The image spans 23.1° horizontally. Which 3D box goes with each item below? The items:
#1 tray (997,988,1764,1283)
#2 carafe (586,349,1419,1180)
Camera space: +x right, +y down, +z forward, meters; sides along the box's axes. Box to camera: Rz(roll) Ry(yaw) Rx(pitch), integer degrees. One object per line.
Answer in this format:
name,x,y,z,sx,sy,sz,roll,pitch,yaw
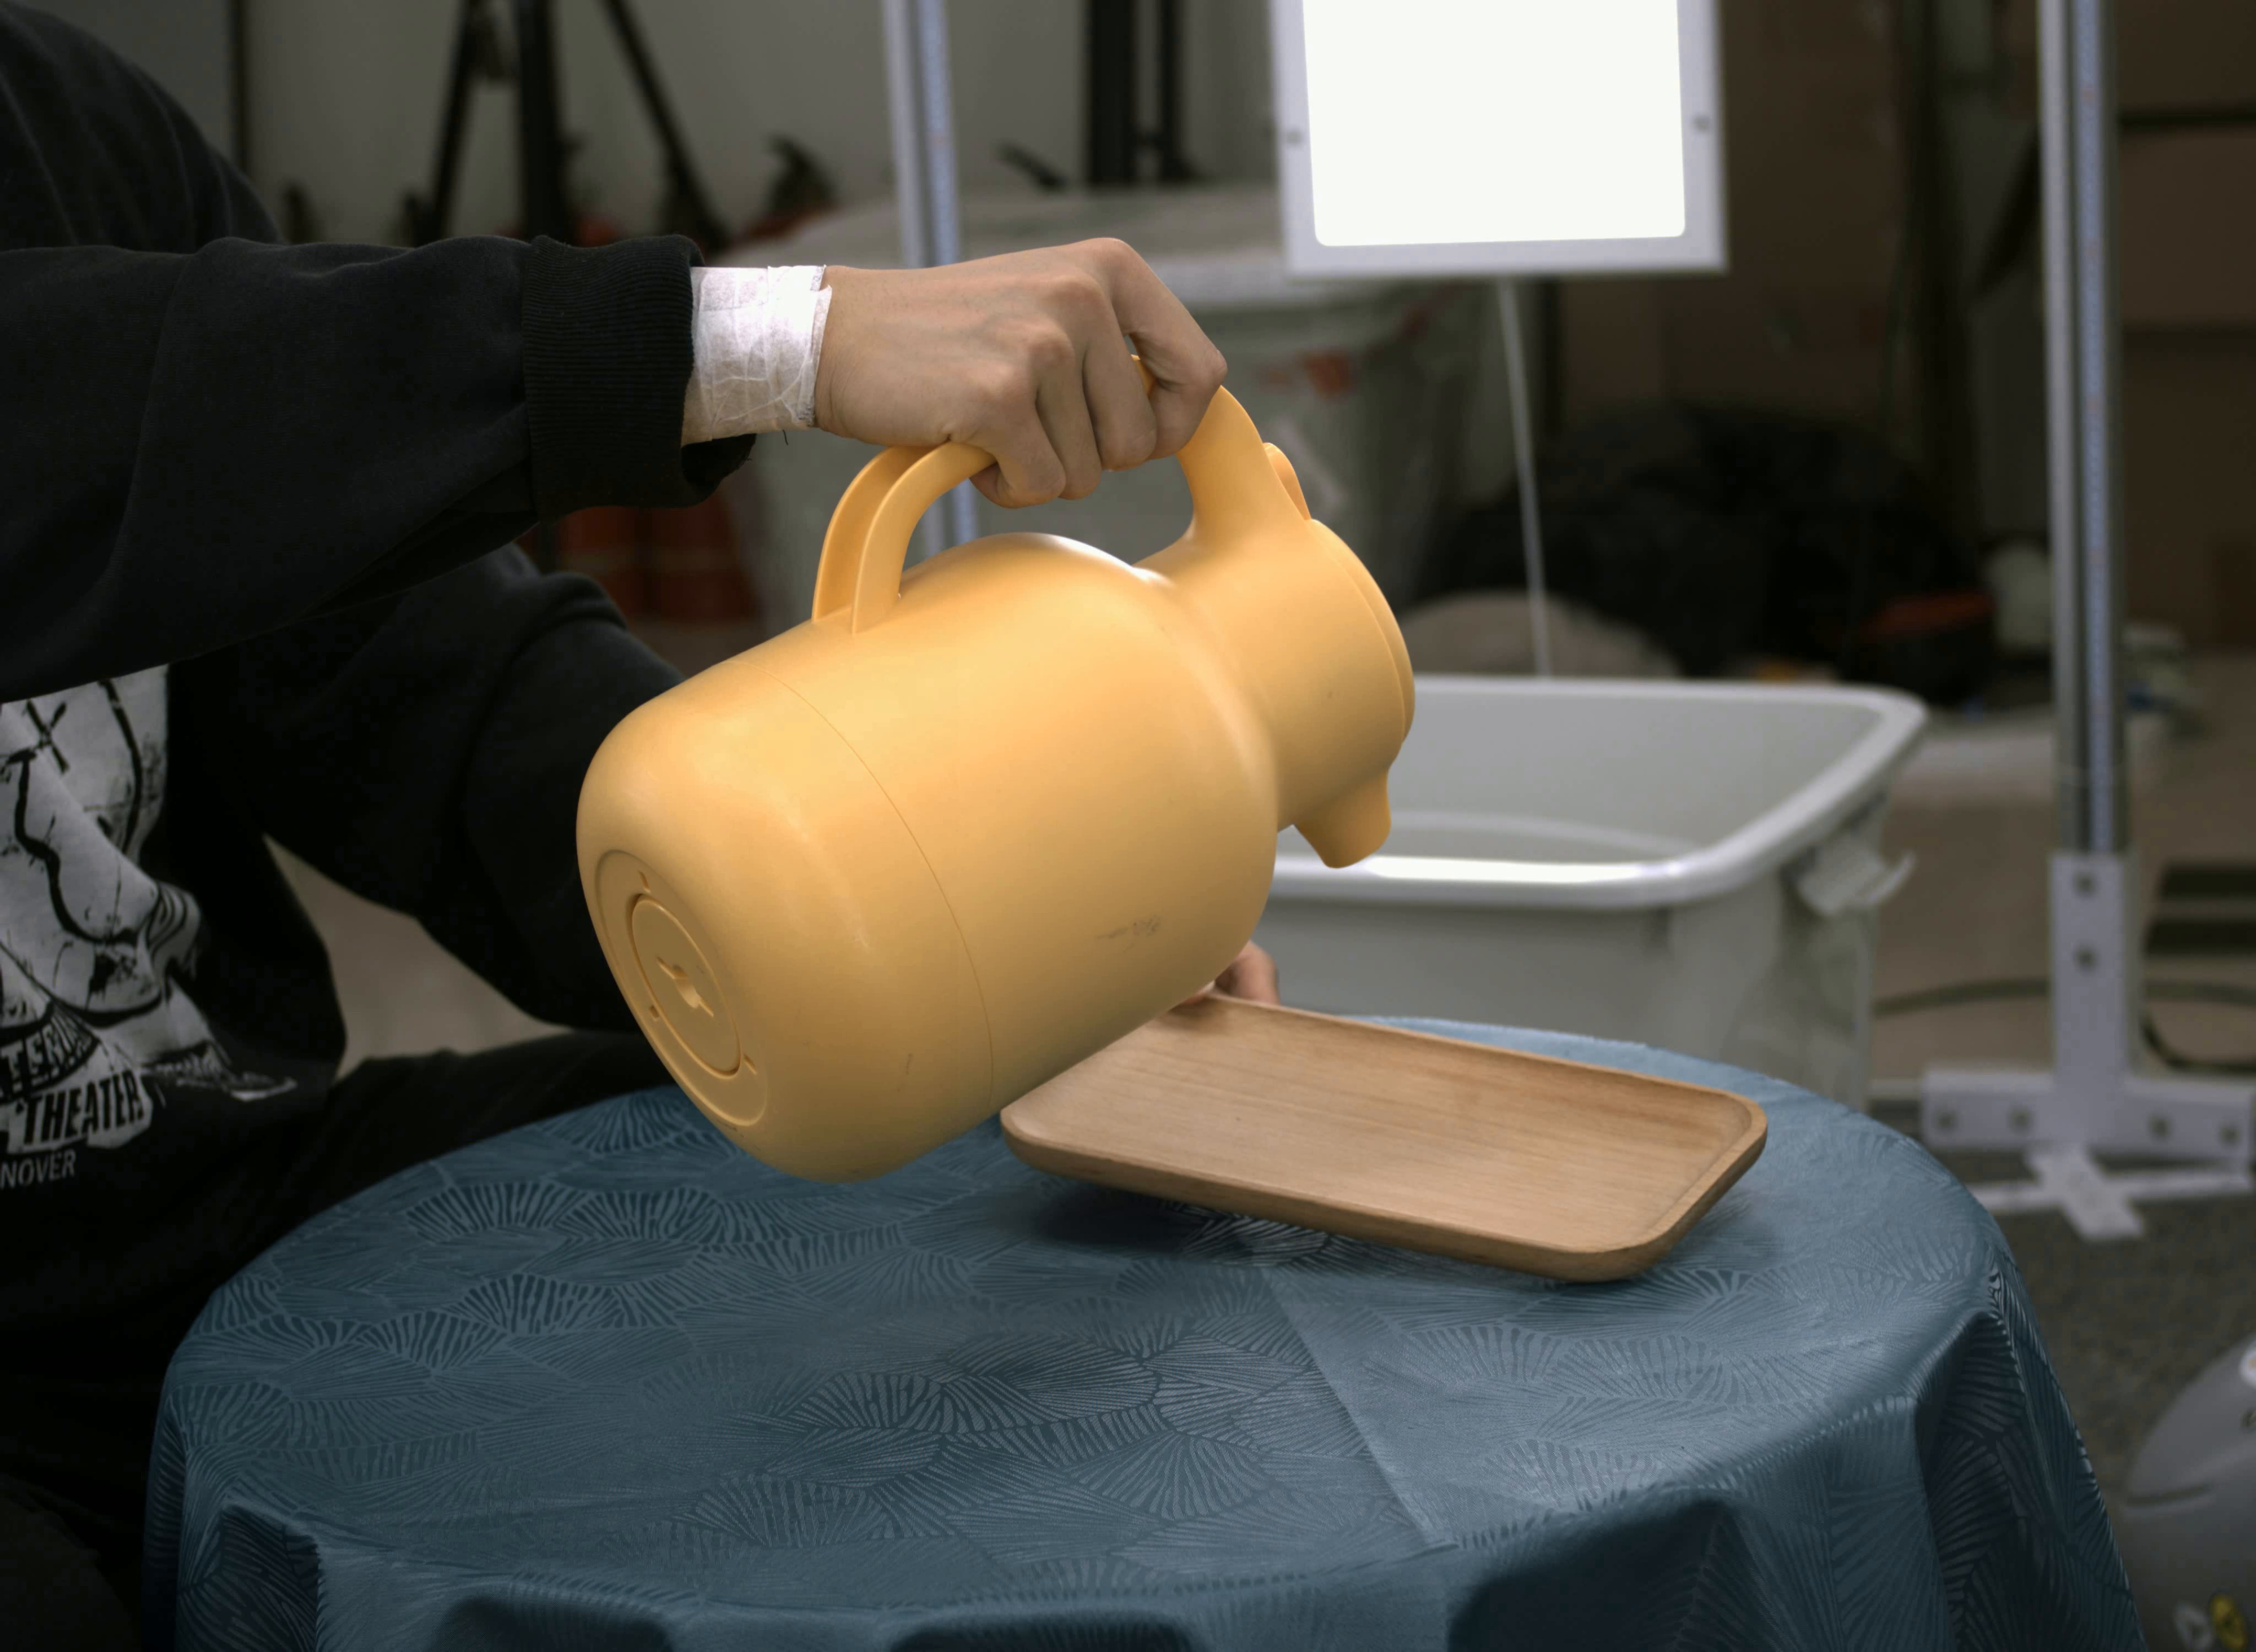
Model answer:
tray,0.084,0.103,1.857,0.255,0.023,0.127,9,25,32
carafe,-0.038,-0.027,1.712,0.255,0.202,0.166,-30,20,-26
